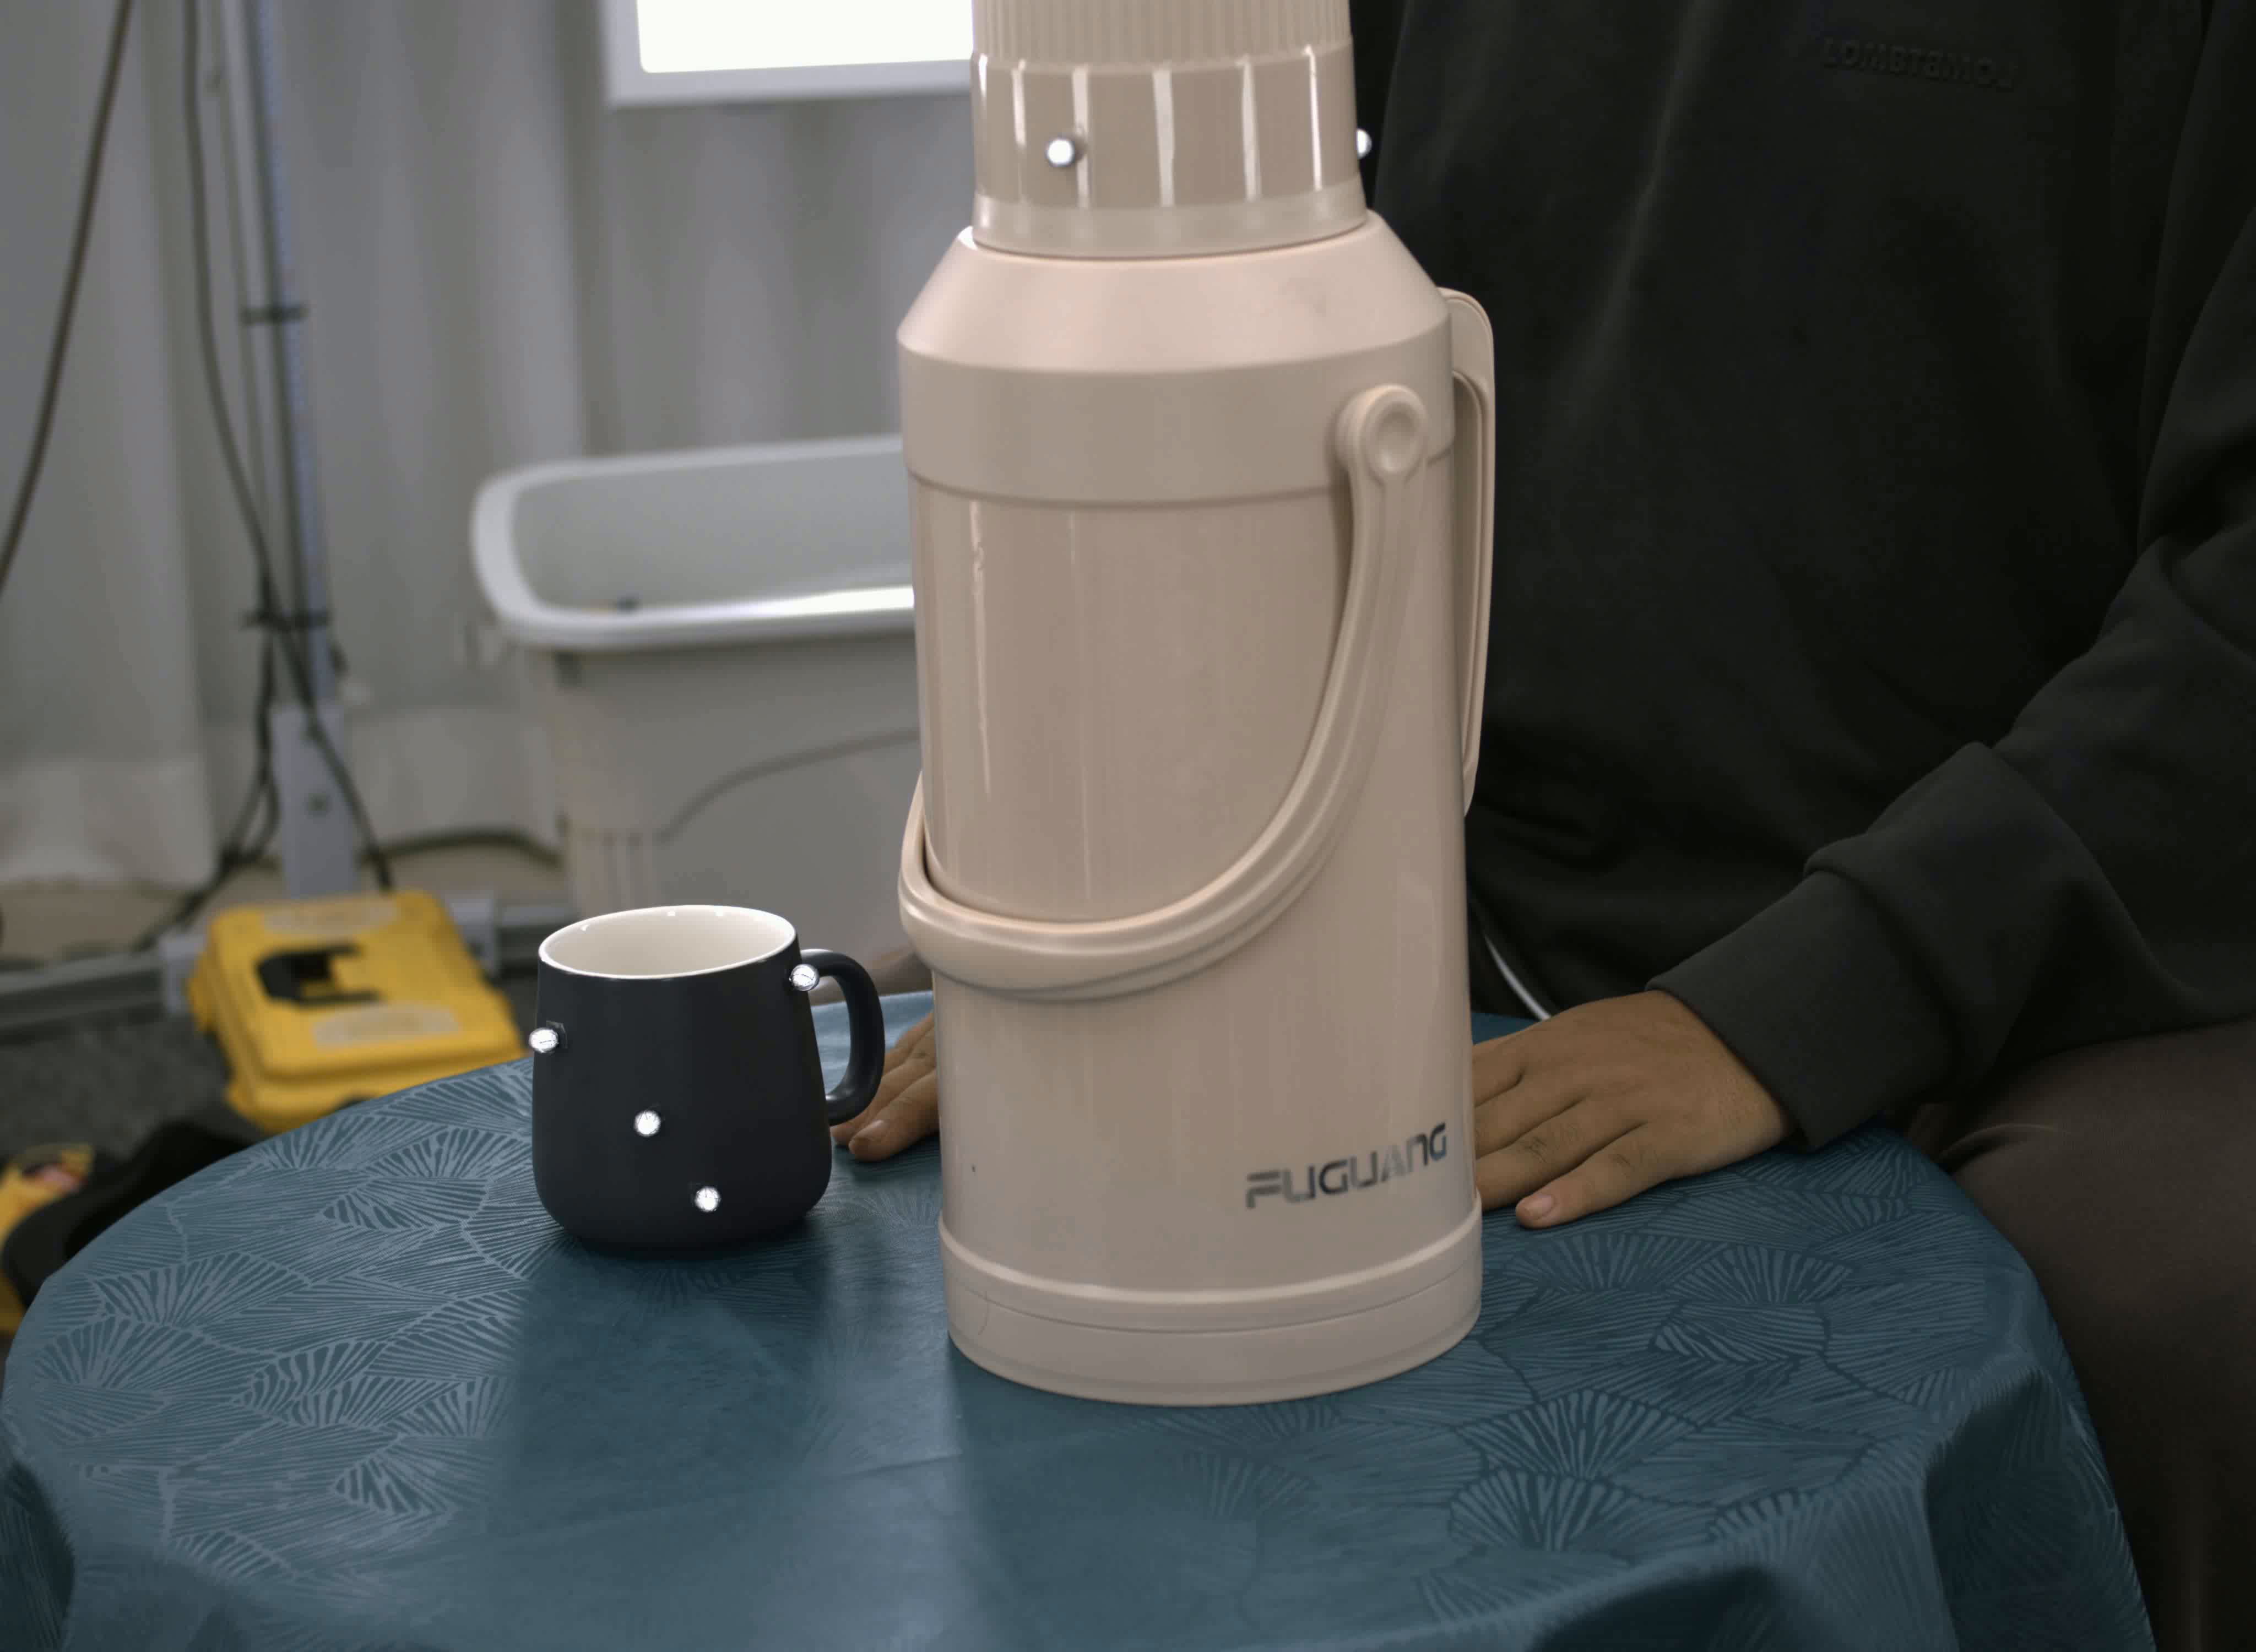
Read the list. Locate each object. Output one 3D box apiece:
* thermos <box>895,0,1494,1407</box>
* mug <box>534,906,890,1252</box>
[{"bbox_3d":[0.028,-0.052,1.572,0.206,0.405,0.176,-15,18,-41],"label":"thermos"},{"bbox_3d":[-0.127,0.076,1.710,0.123,0.089,0.094,-13,18,-34],"label":"mug"}]
